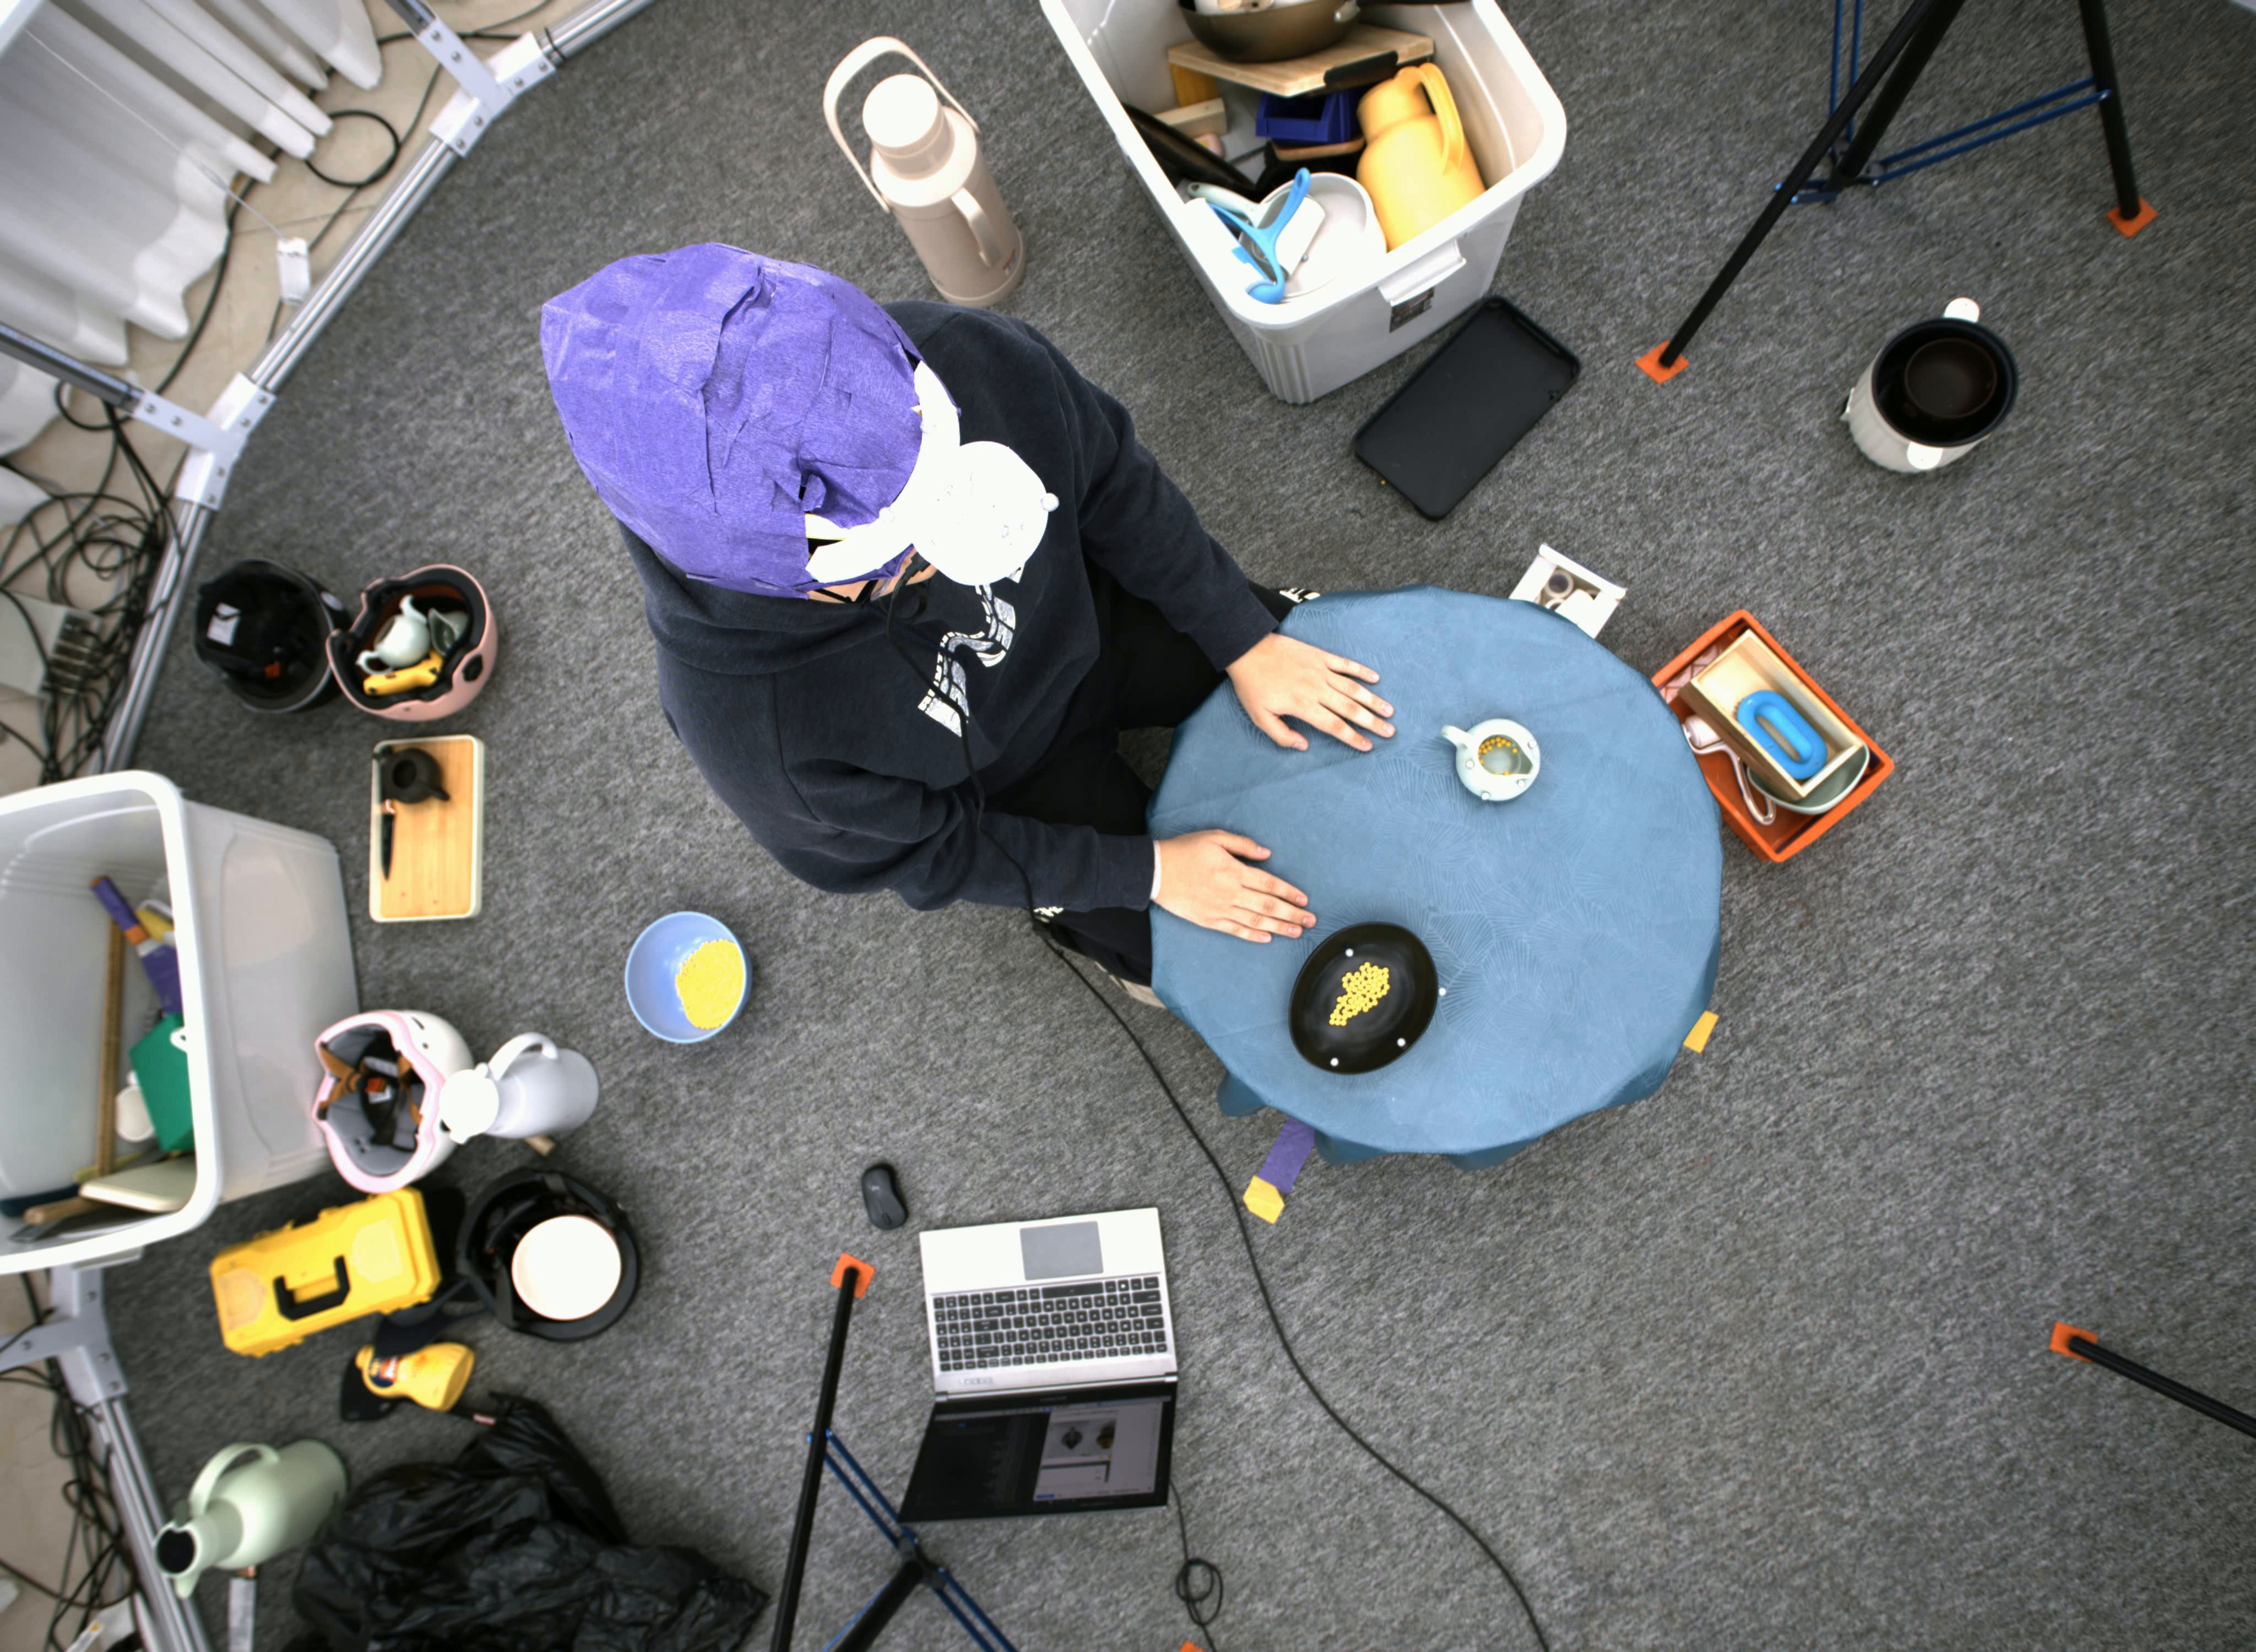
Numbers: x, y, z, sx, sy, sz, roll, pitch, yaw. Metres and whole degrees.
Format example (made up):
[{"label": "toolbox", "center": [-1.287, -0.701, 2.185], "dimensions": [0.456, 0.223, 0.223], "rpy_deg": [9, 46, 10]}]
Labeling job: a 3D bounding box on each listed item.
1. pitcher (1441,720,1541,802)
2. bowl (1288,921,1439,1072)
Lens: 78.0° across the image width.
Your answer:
[{"label": "pitcher", "center": [0.374, -0.076, 1.422], "dimensions": [0.108, 0.060, 0.086], "rpy_deg": [25, 90, 14]}, {"label": "bowl", "center": [0.243, 0.176, 1.428], "dimensions": [0.137, 0.067, 0.171], "rpy_deg": [40, 95, 12]}]
